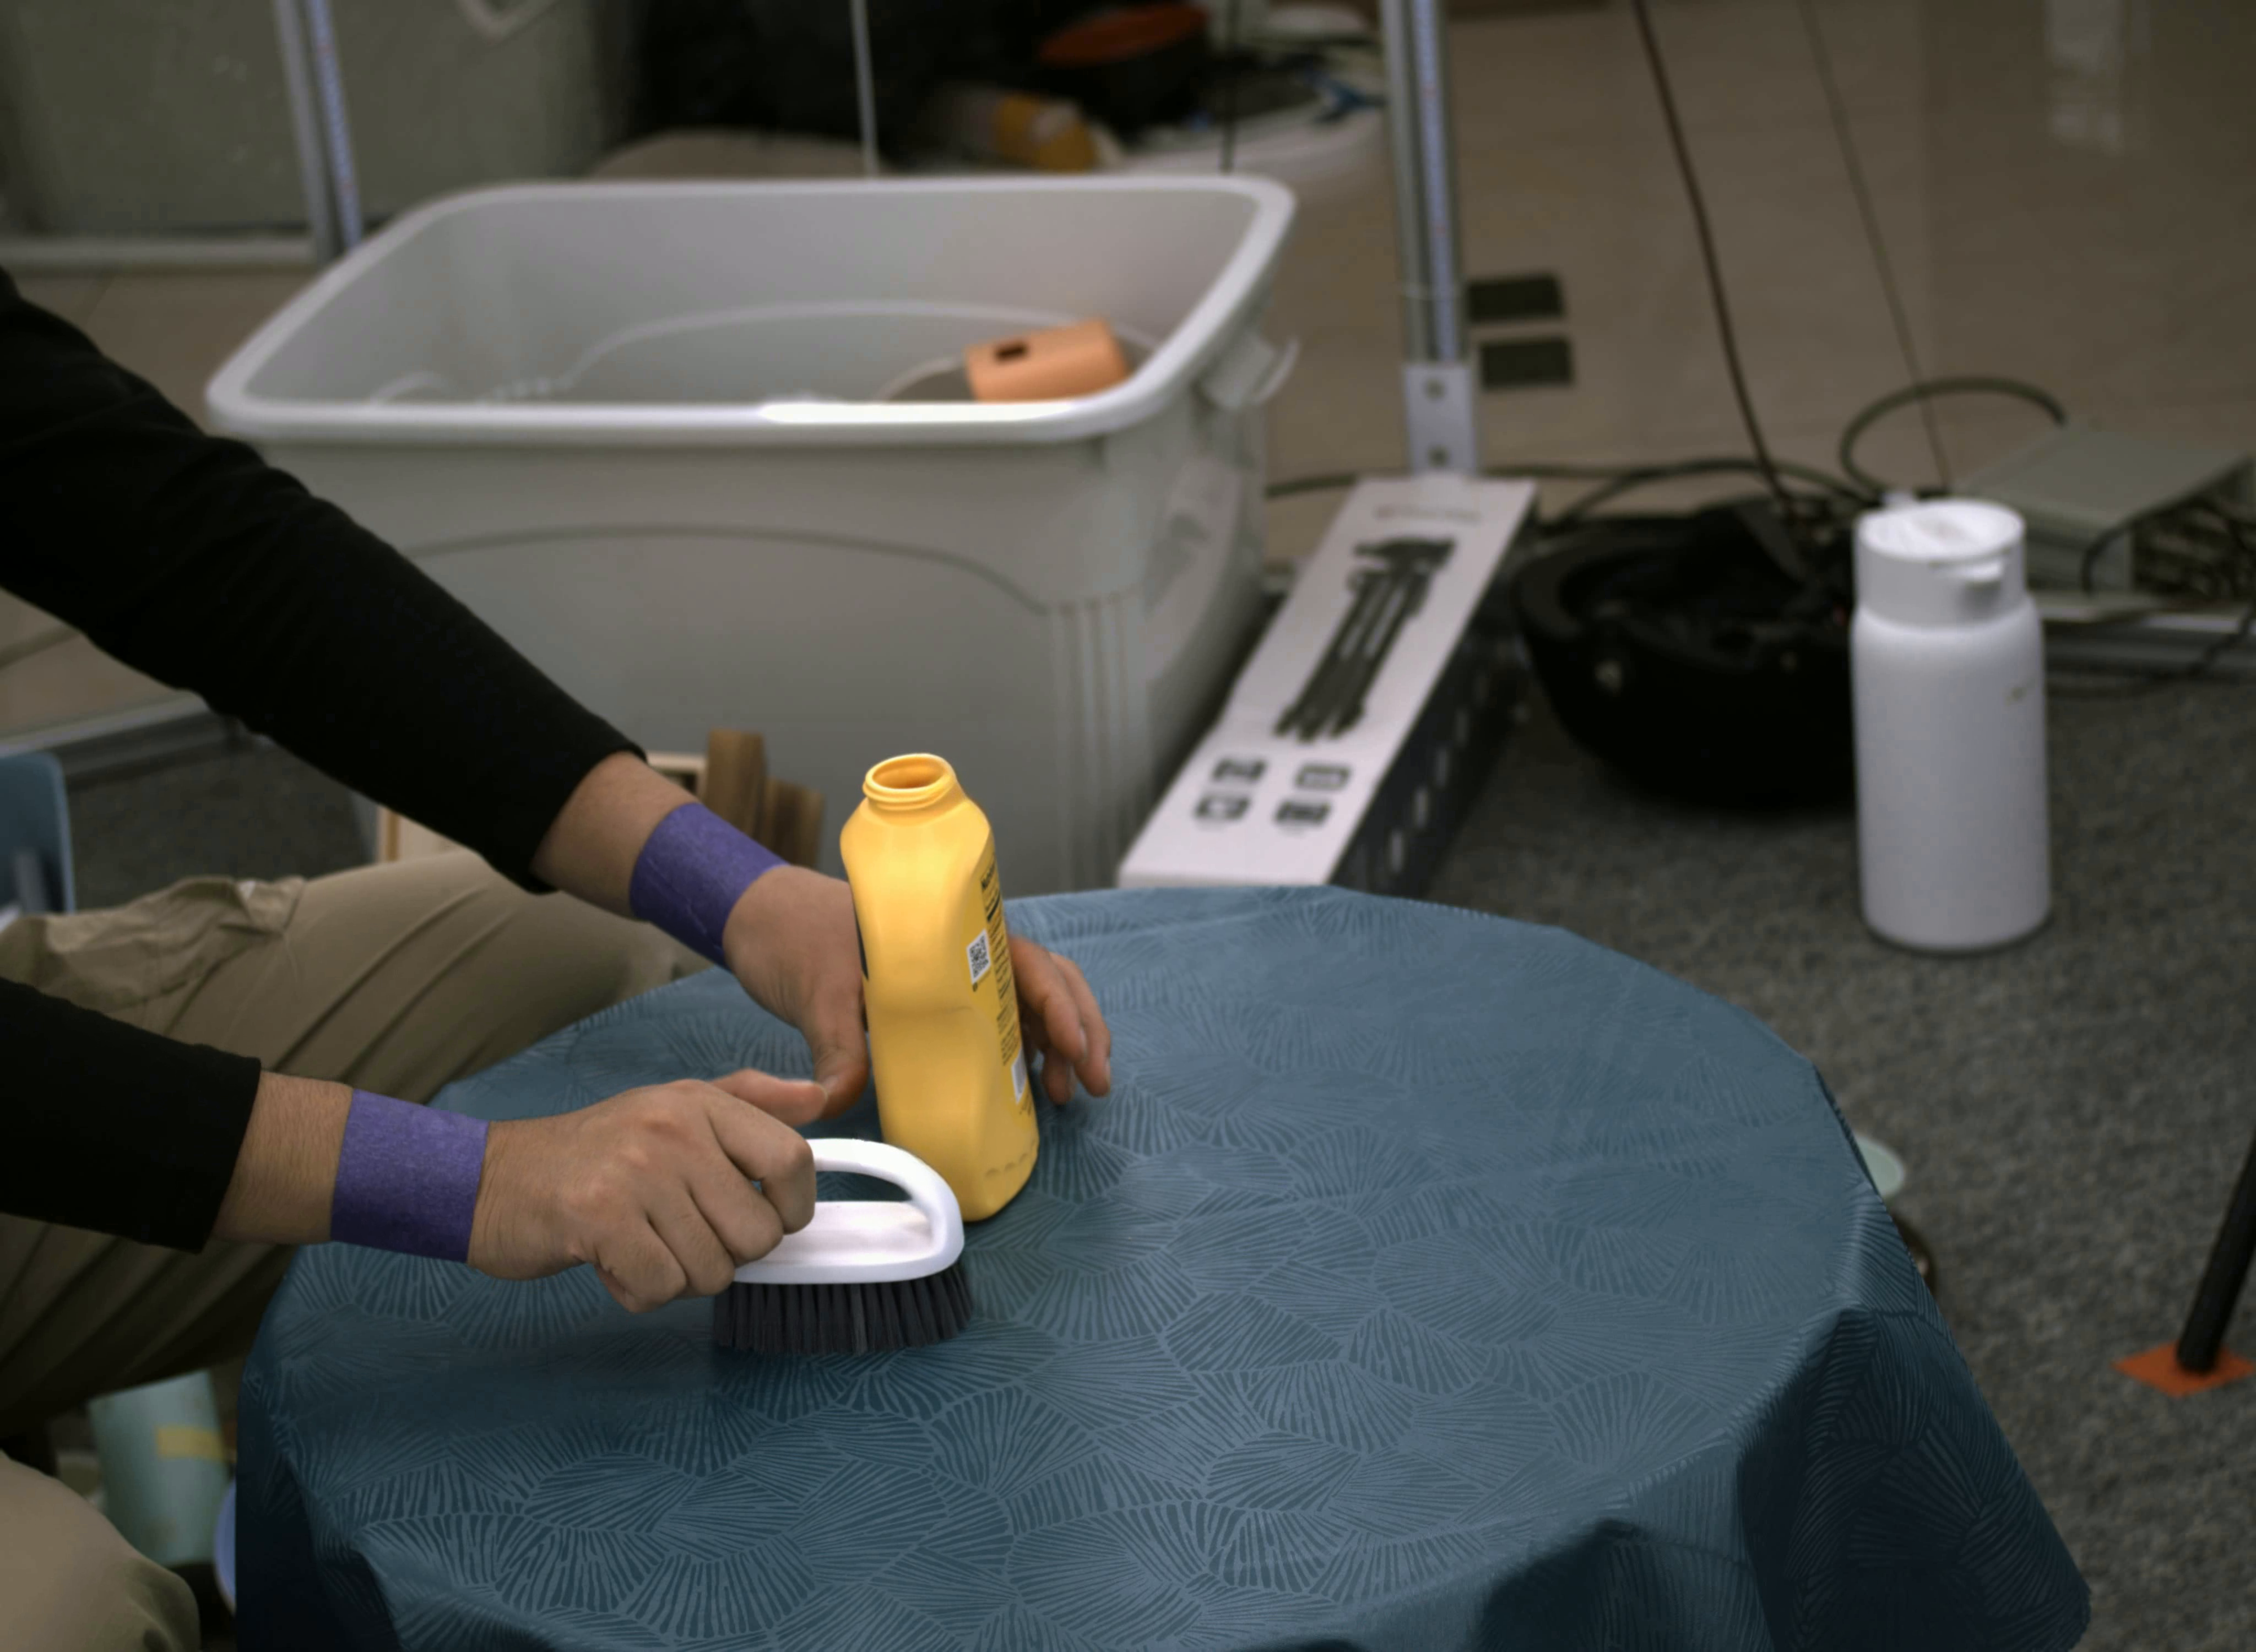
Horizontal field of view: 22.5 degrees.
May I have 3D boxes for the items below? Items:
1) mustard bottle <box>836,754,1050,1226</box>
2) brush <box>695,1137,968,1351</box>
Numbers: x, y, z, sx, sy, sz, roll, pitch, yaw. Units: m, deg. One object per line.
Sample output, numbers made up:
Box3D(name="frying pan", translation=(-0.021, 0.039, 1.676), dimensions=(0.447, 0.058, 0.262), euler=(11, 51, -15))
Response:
Box3D(name="mustard bottle", translation=(-0.071, 0.058, 2.135), dimensions=(0.059, 0.175, 0.097), euler=(-6, 27, 8))
Box3D(name="brush", translation=(-0.110, 0.148, 2.064), dimensions=(0.099, 0.073, 0.049), euler=(1, 25, 11))
